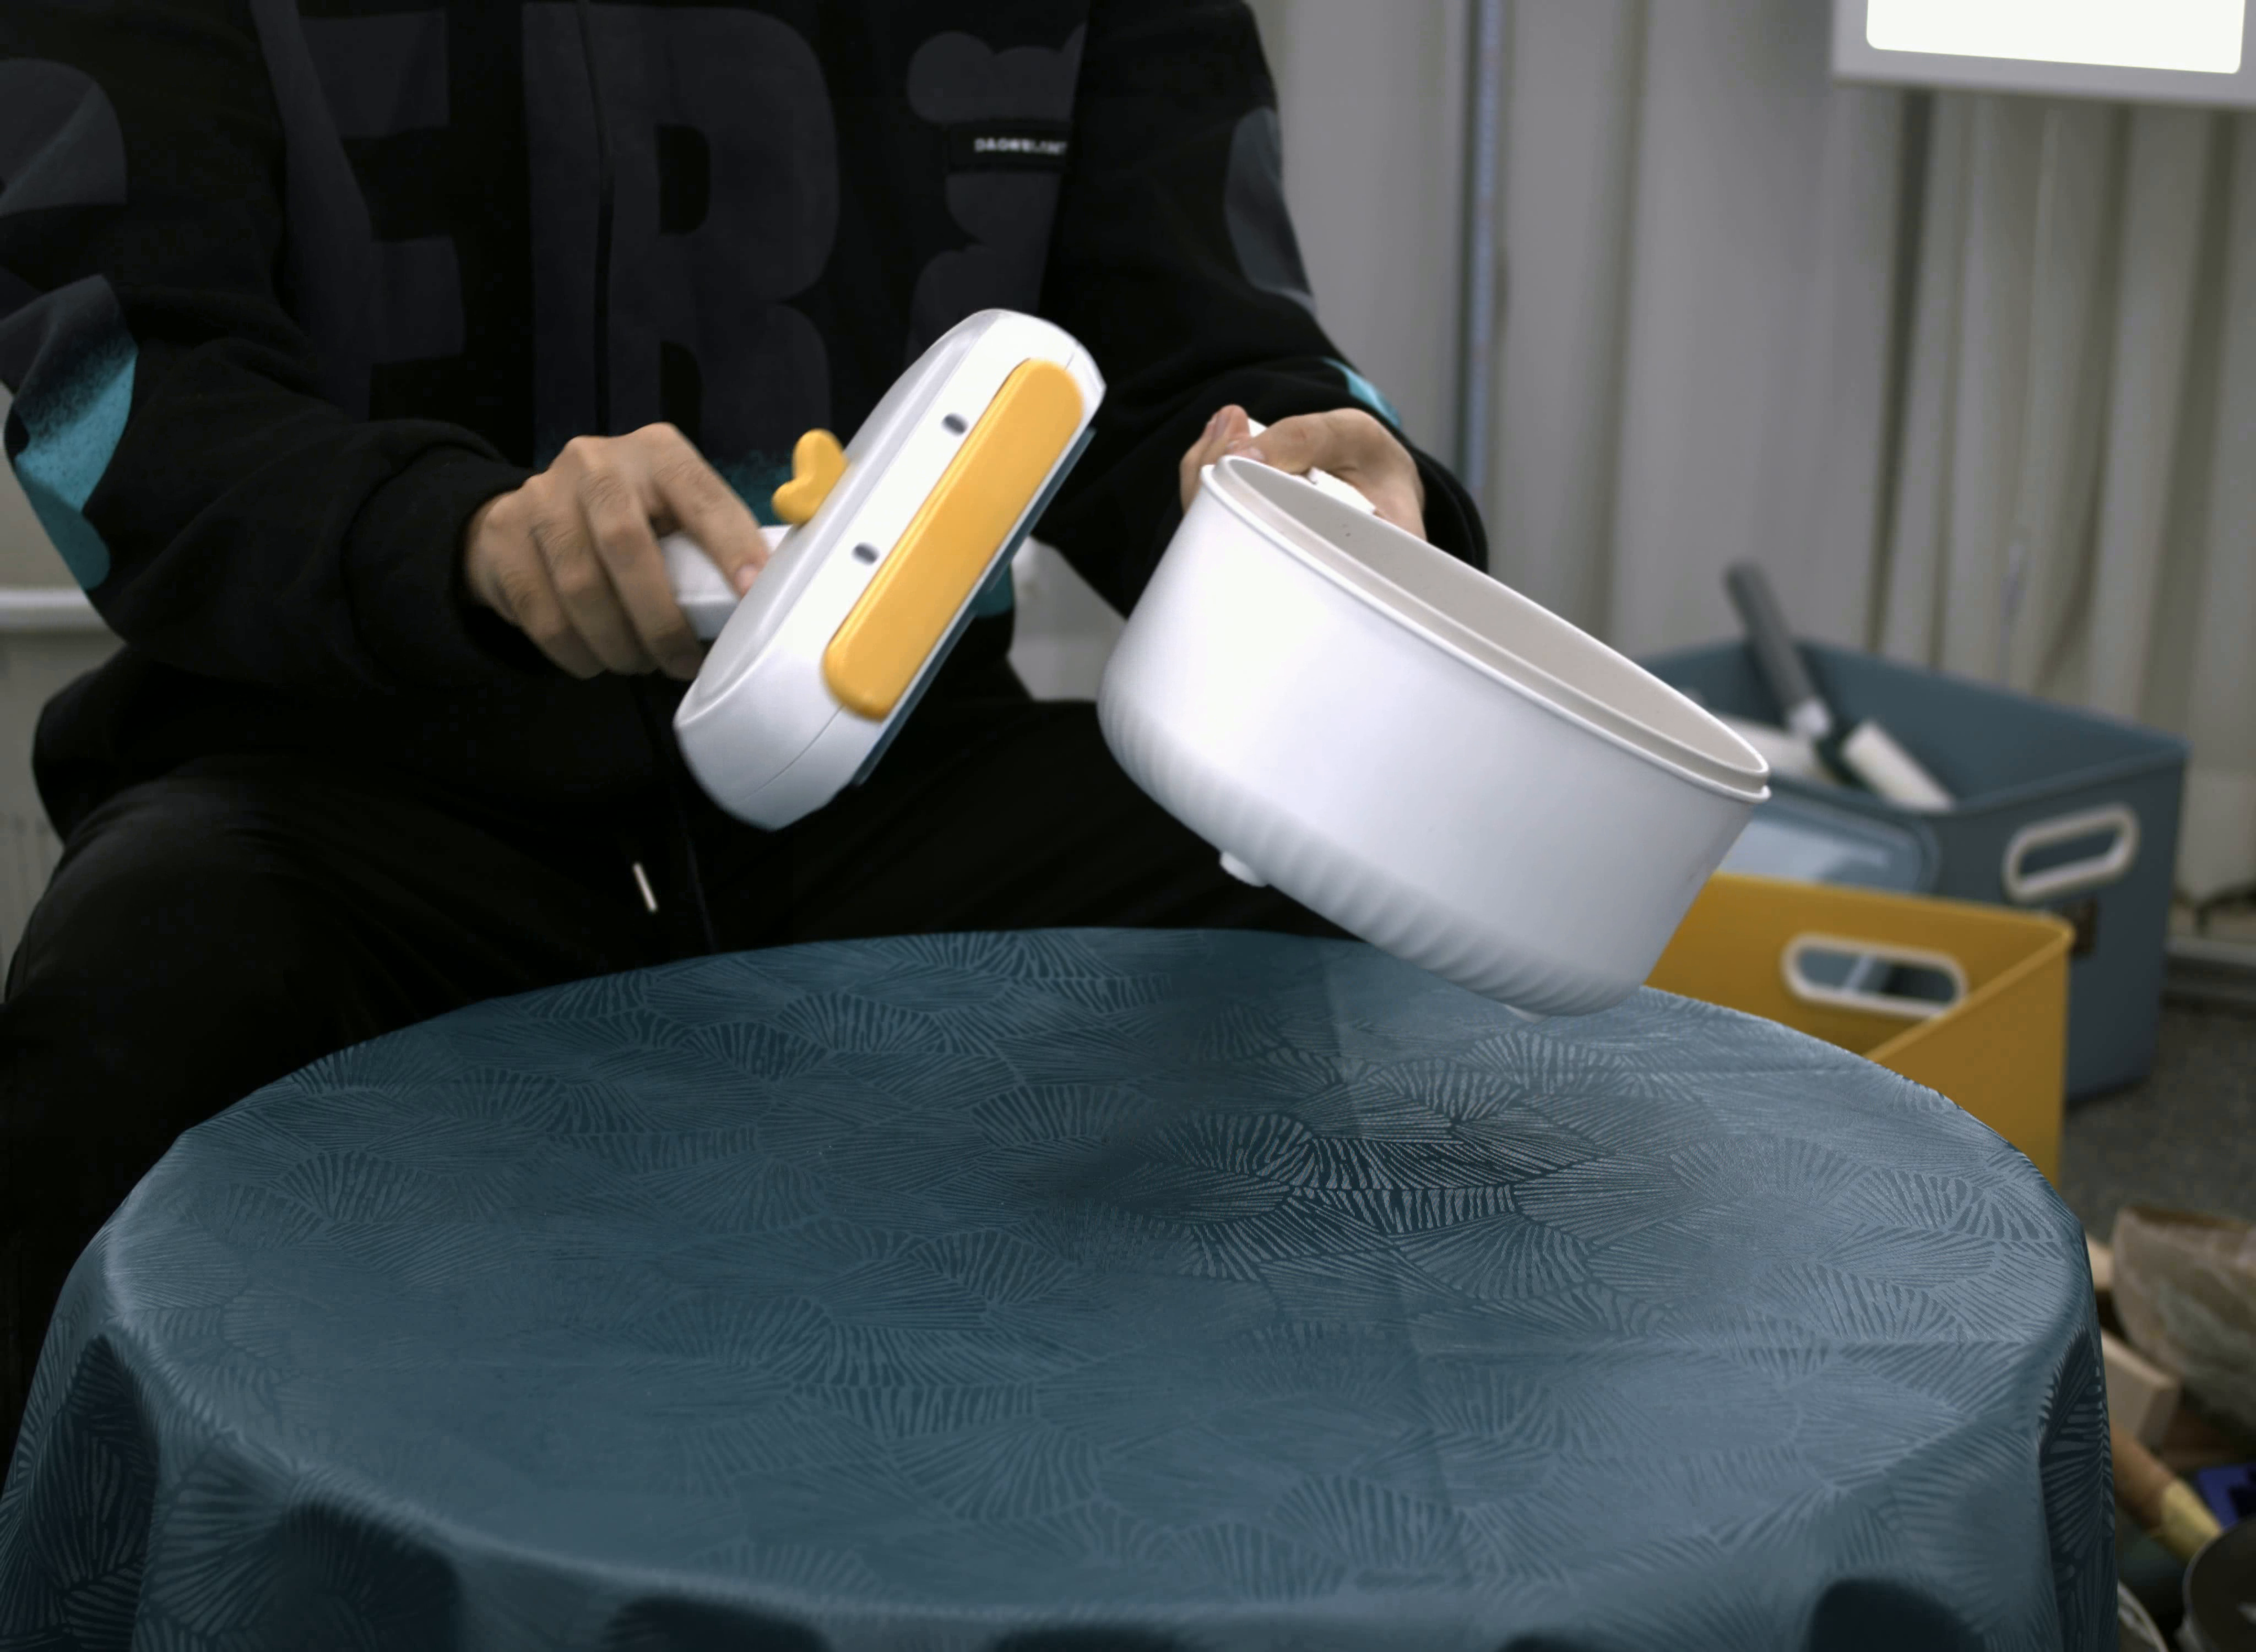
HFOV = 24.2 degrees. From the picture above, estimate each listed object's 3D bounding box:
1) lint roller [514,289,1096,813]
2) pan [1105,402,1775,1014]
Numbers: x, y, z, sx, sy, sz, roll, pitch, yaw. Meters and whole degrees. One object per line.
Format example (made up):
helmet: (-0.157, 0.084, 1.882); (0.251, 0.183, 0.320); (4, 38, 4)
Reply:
lint roller: (-0.114, -0.076, 1.631); (0.191, 0.075, 0.192); (-19, 37, 46)
pan: (0.072, -0.050, 1.691); (0.203, 0.102, 0.351); (28, 9, -21)
